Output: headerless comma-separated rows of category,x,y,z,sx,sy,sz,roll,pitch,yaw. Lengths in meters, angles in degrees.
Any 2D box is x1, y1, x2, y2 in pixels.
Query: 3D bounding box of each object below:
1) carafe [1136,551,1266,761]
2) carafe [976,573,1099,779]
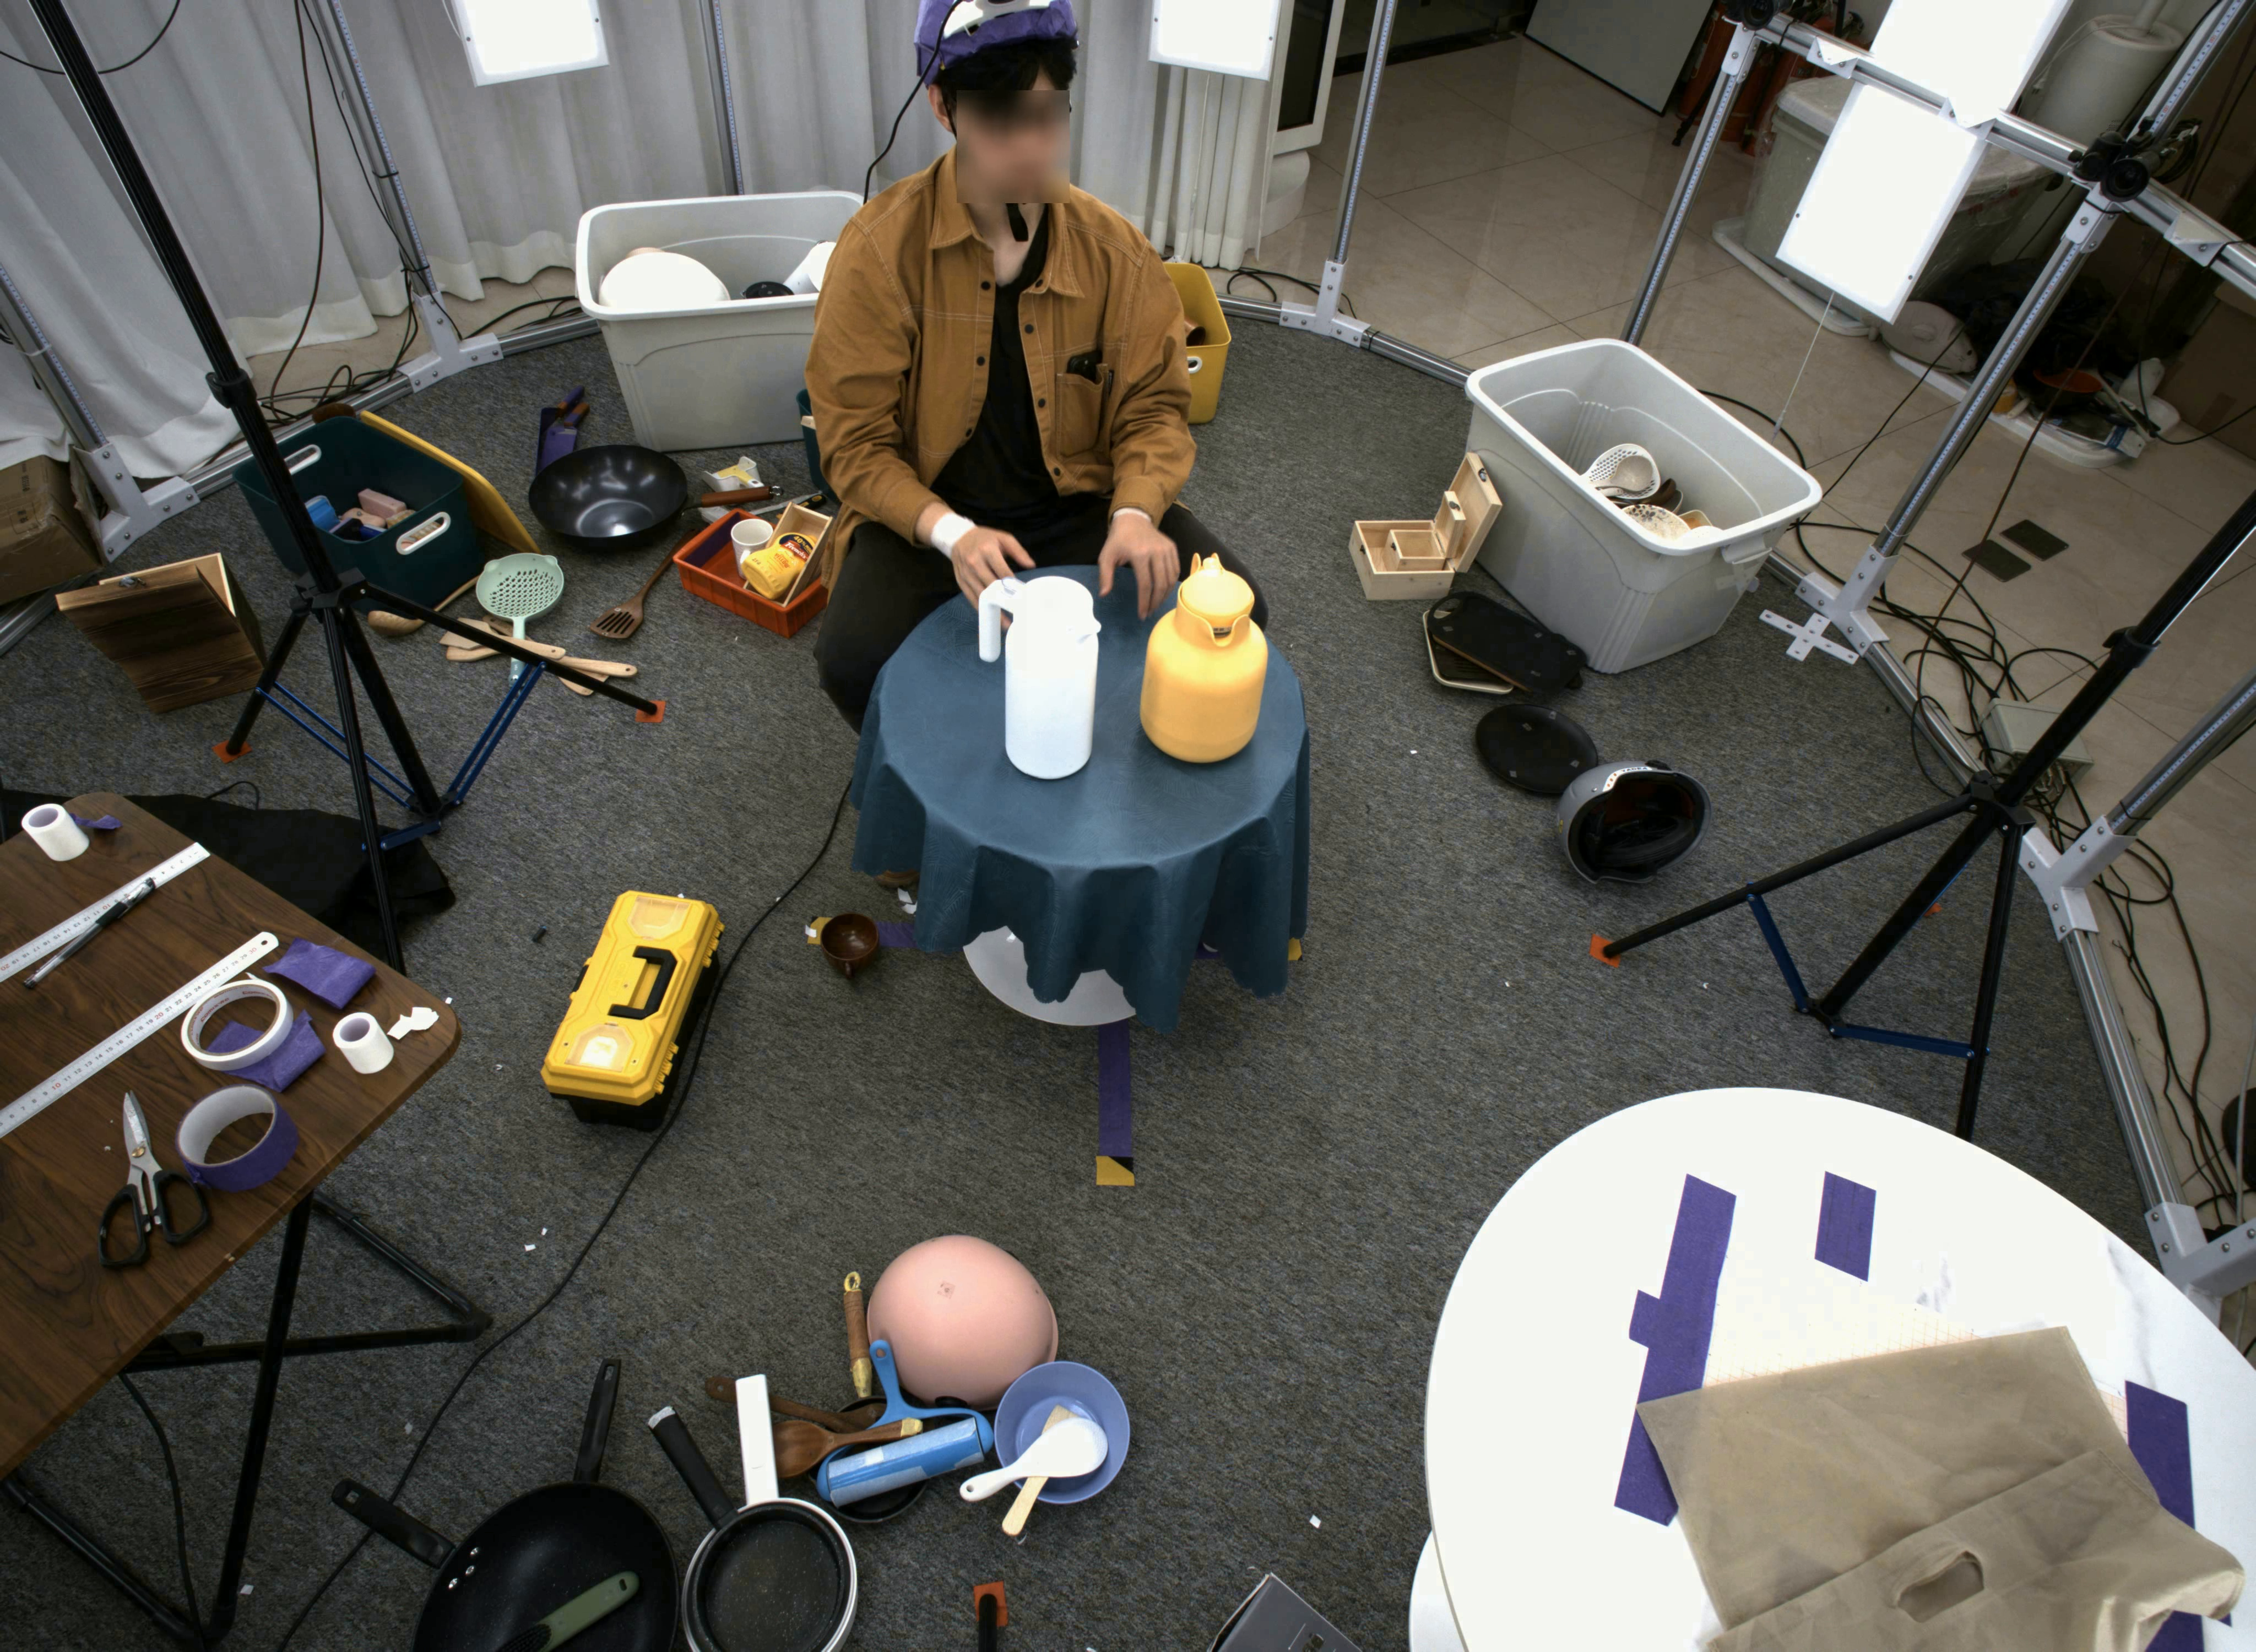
carafe,0.101,-0.233,1.707,0.163,0.254,0.207,3,51,-6
carafe,-0.117,-0.194,1.659,0.174,0.262,0.126,27,55,18
